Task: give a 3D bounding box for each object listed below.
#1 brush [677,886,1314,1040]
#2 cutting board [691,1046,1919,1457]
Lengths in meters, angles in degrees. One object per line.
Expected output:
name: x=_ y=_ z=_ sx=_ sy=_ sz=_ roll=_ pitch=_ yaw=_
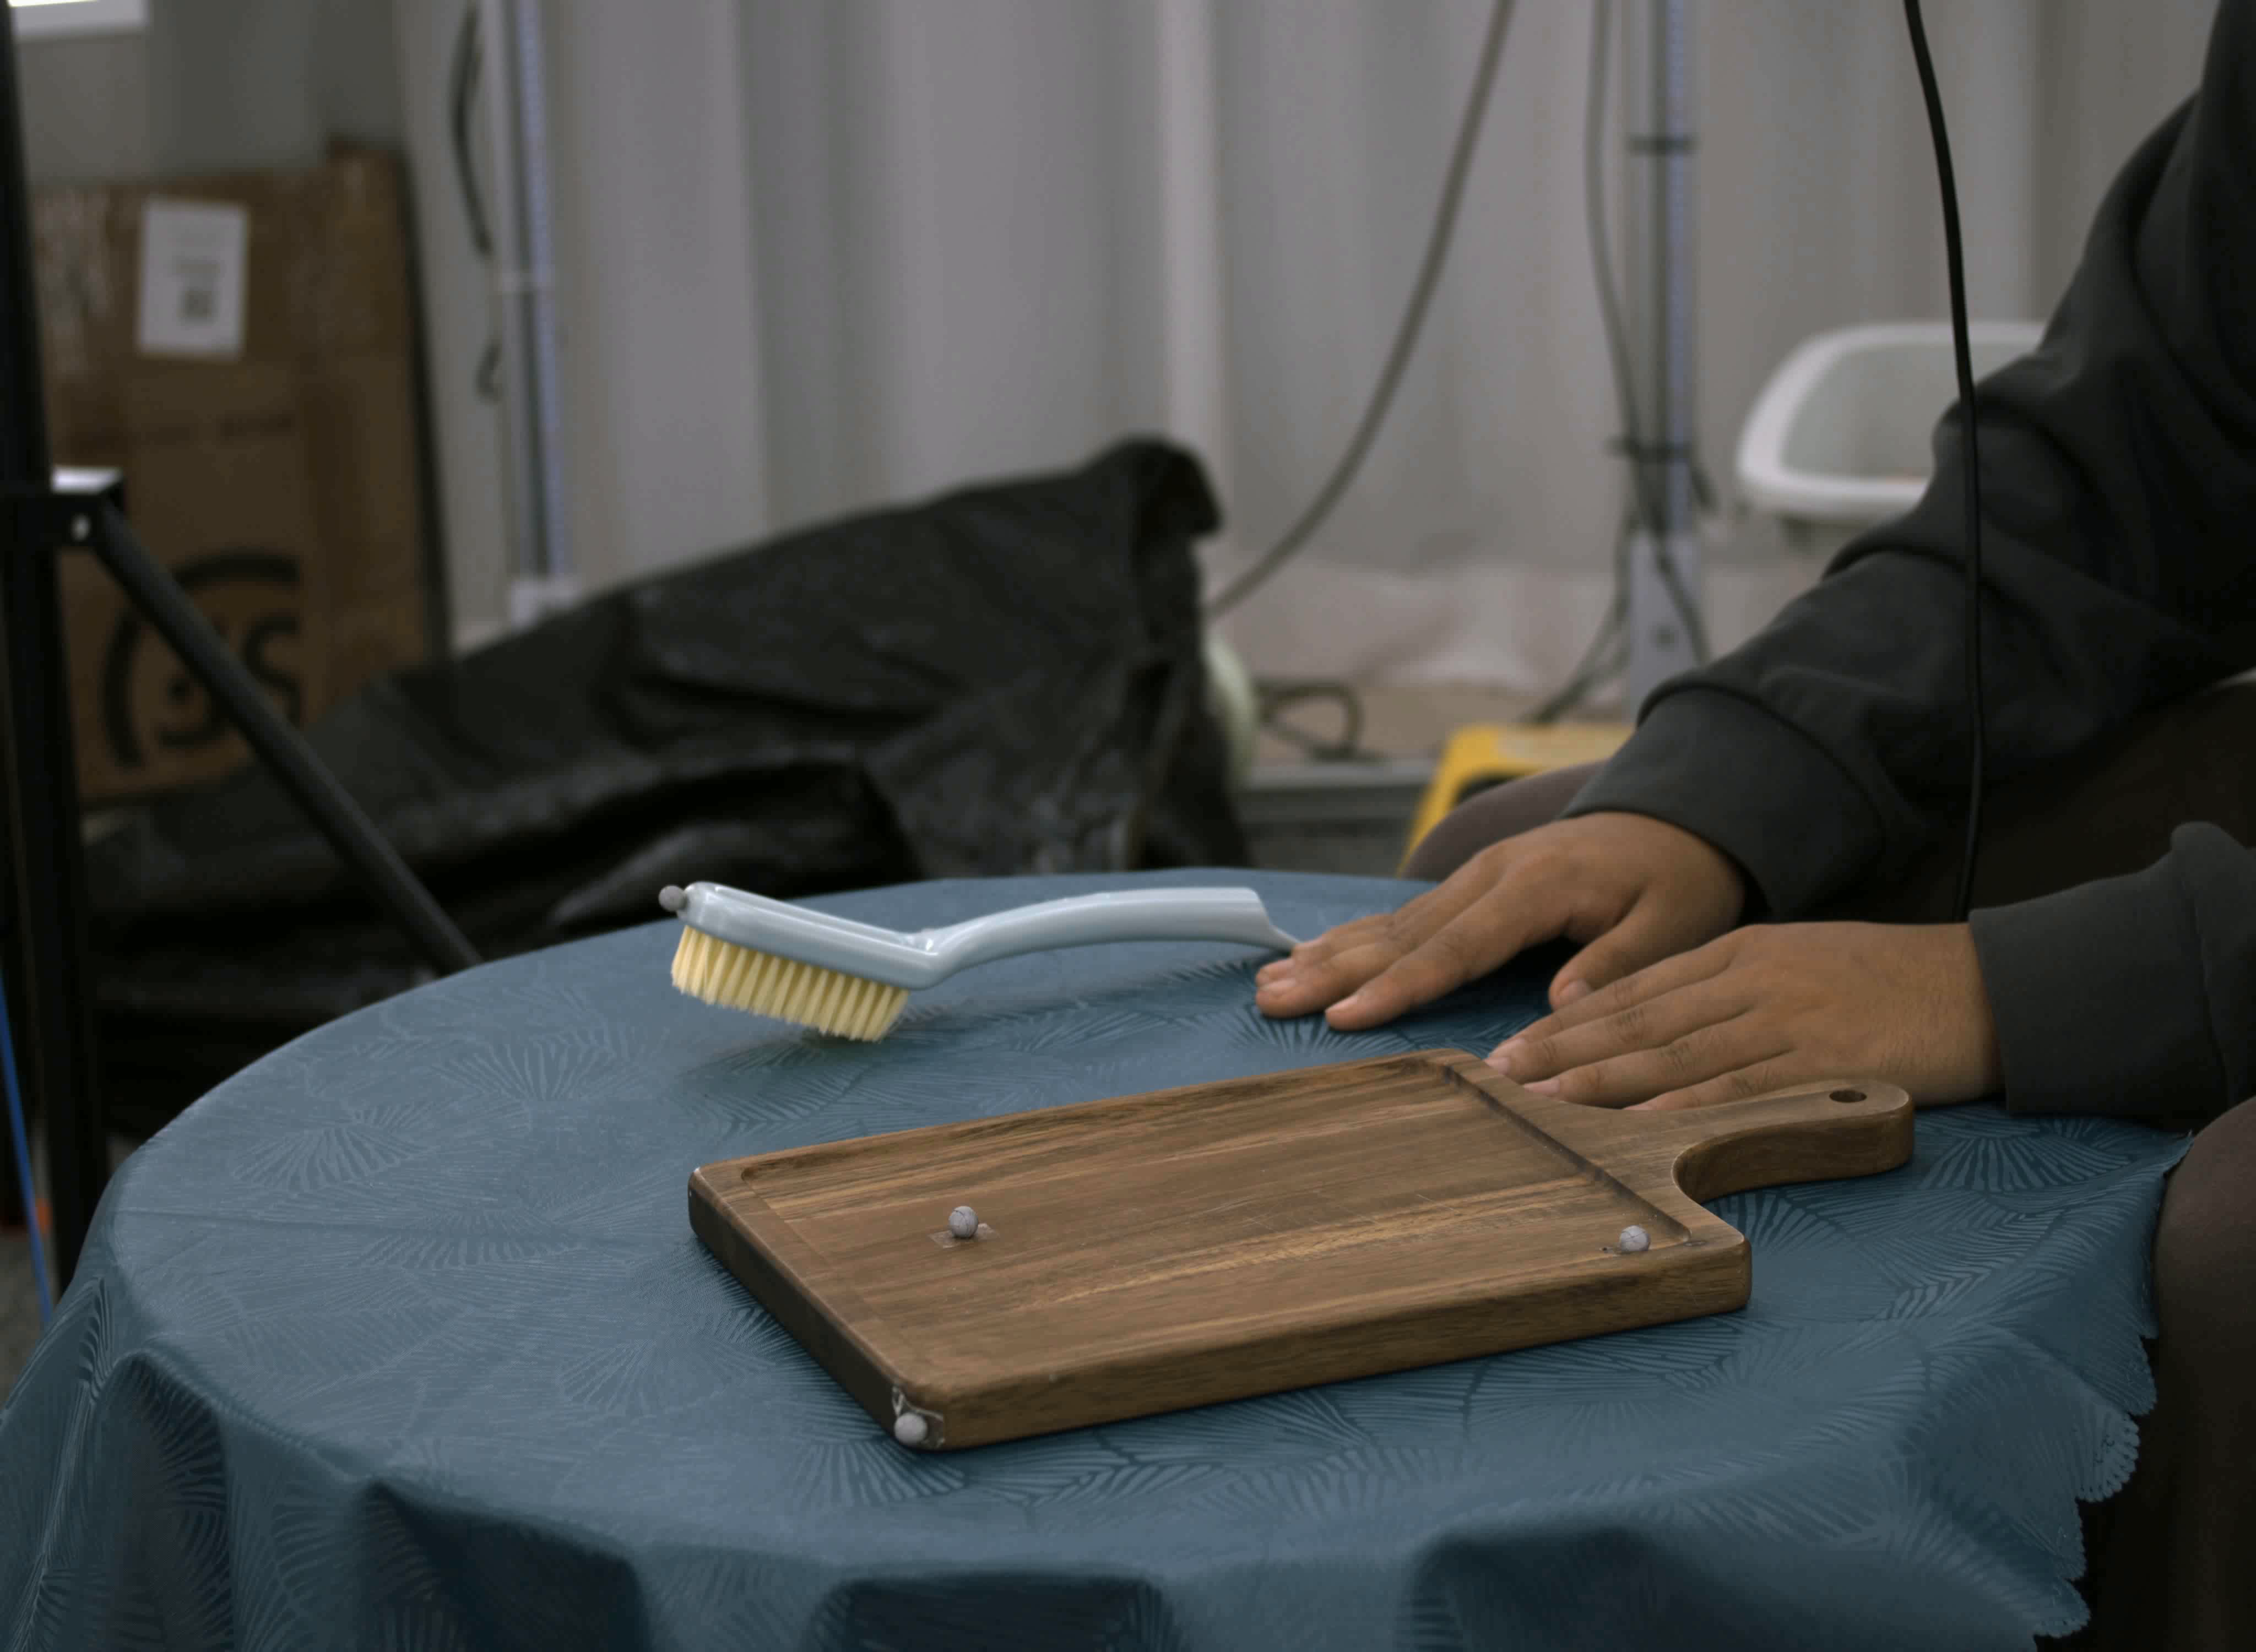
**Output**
brush: x=-0.041 y=0.044 z=1.732 sx=0.223 sy=0.050 sz=0.038 roll=0 pitch=15 yaw=-27
cutting board: x=0.070 y=0.109 z=1.505 sx=0.346 sy=0.023 sz=0.205 roll=-8 pitch=17 yaw=-19
